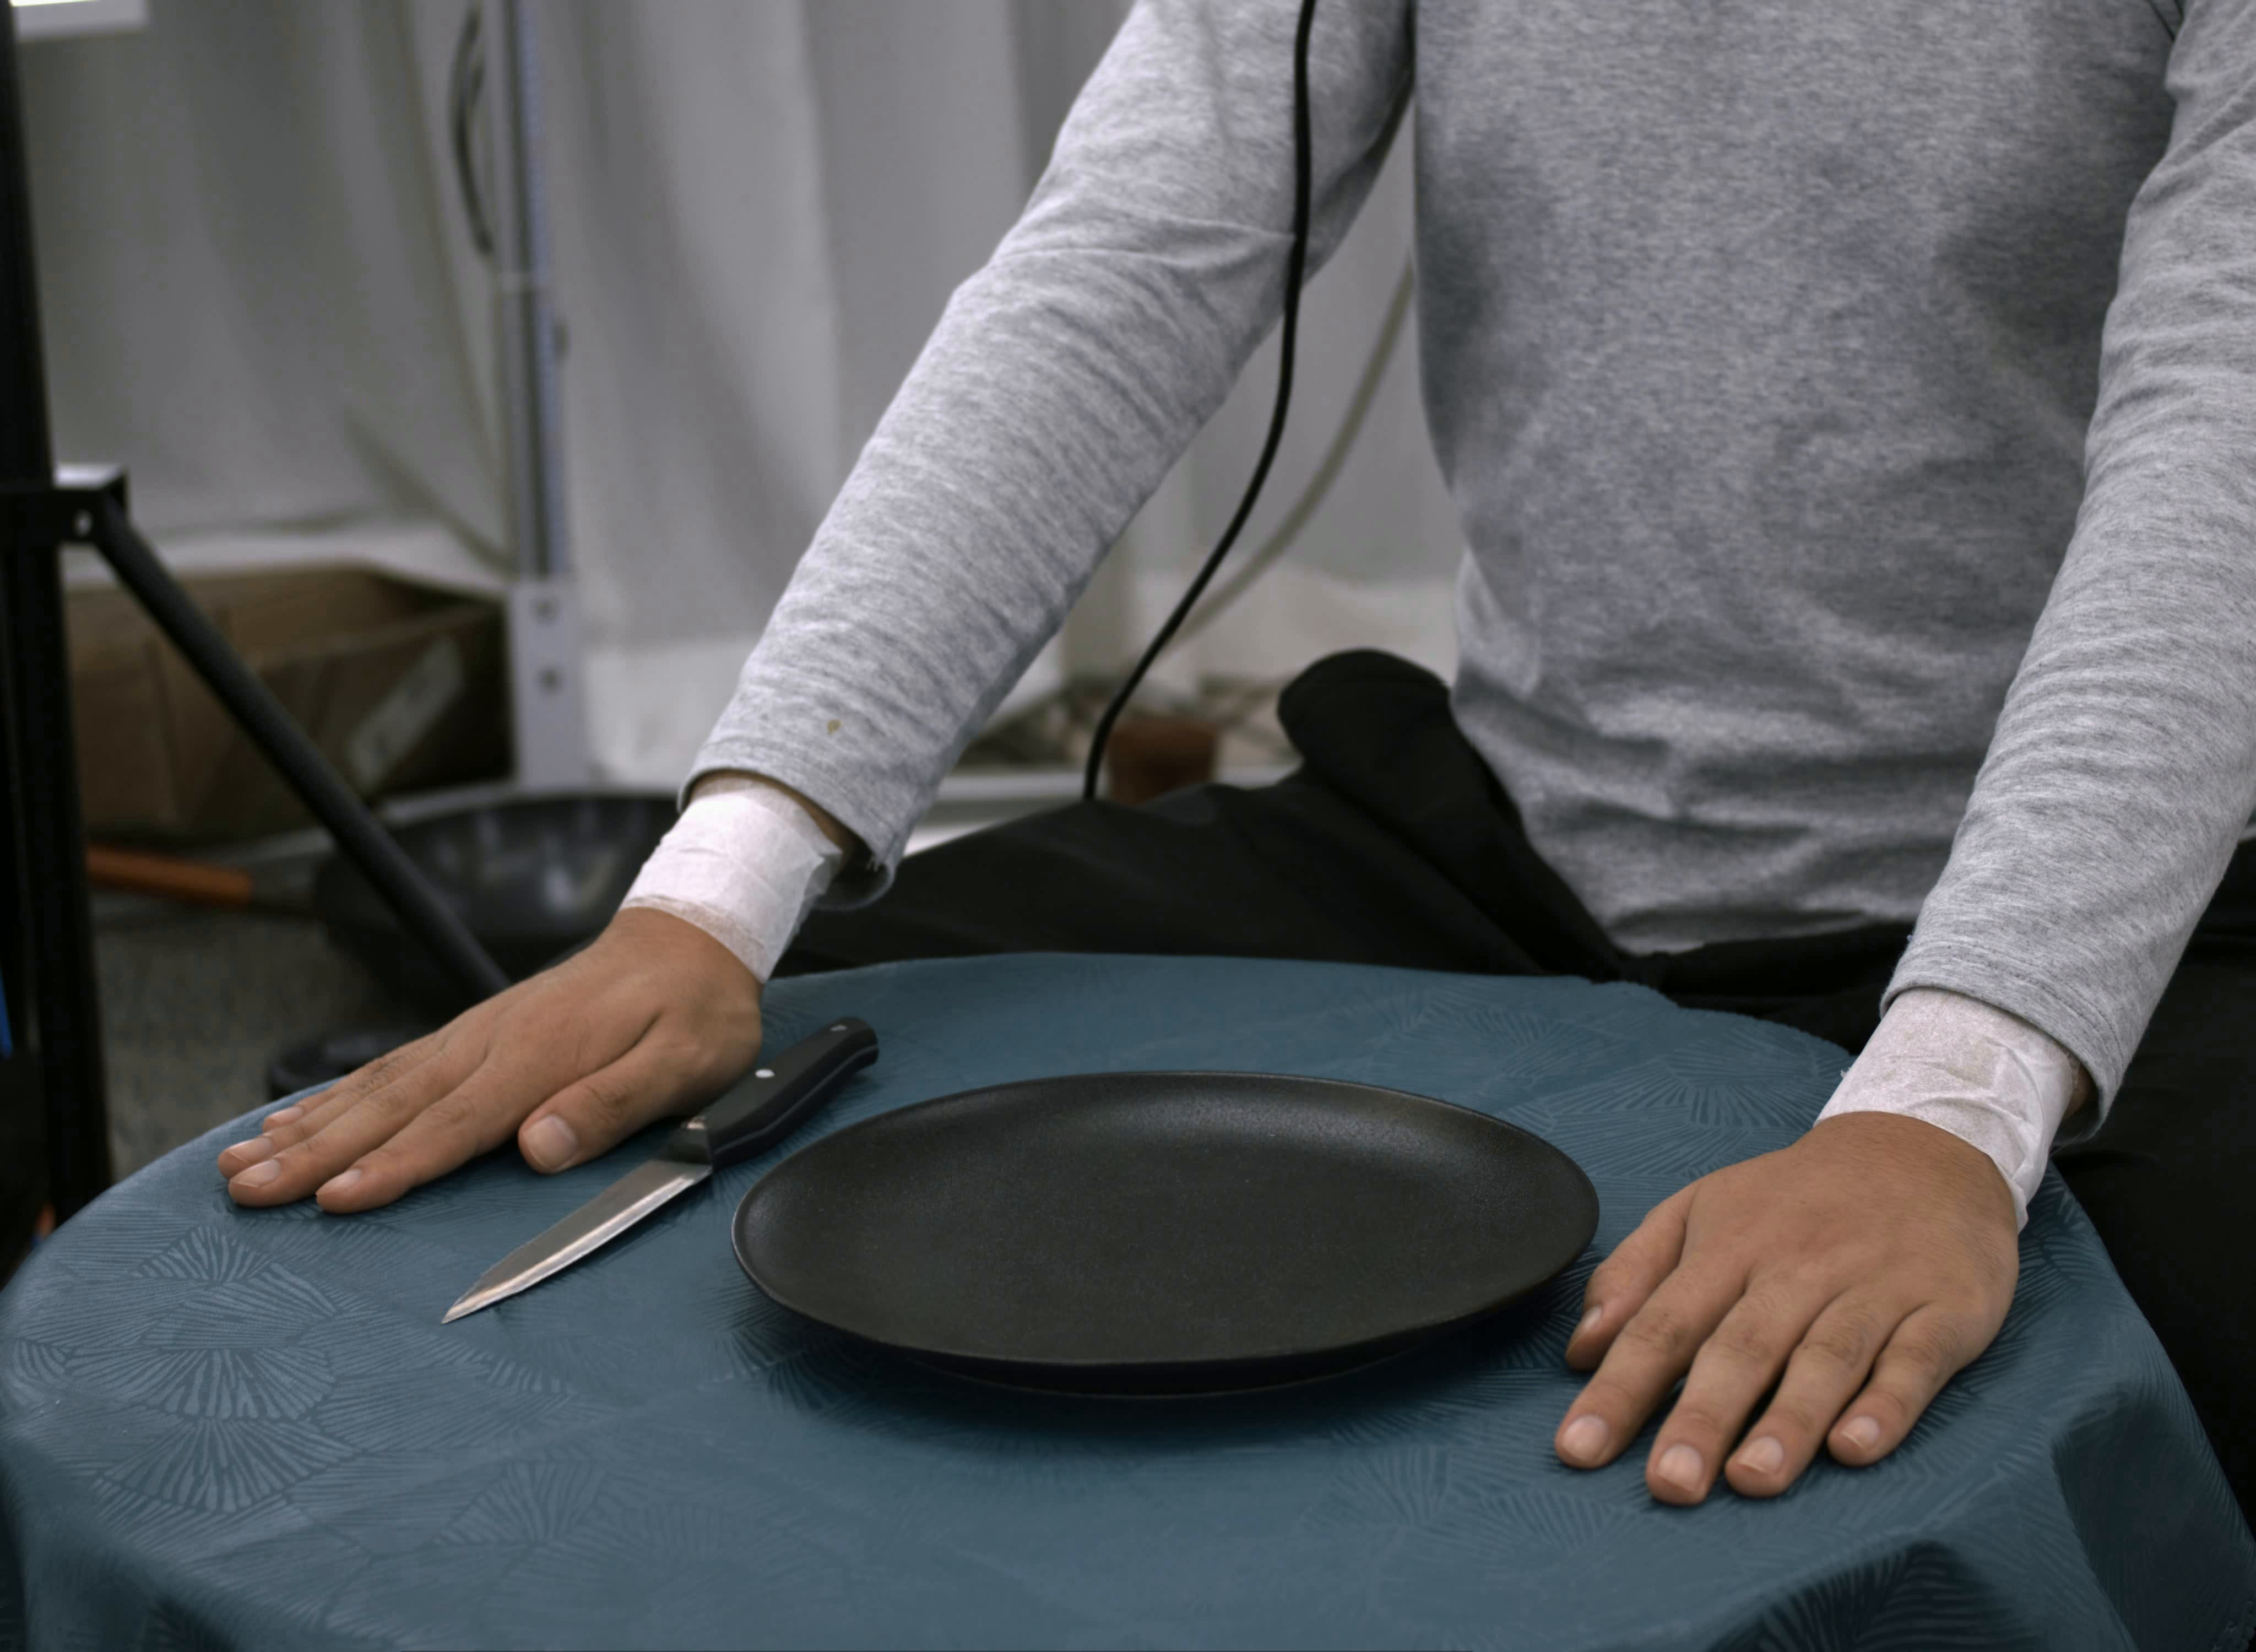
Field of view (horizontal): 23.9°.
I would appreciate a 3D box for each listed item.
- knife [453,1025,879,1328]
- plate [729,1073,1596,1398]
[{"bbox_3d":[-0.137,0.103,1.580,0.025,0.016,0.234,6,20,26],"label":"knife"},{"bbox_3d":[0.010,0.117,1.488,0.243,0.023,0.245,-3,16,-1],"label":"plate"}]
